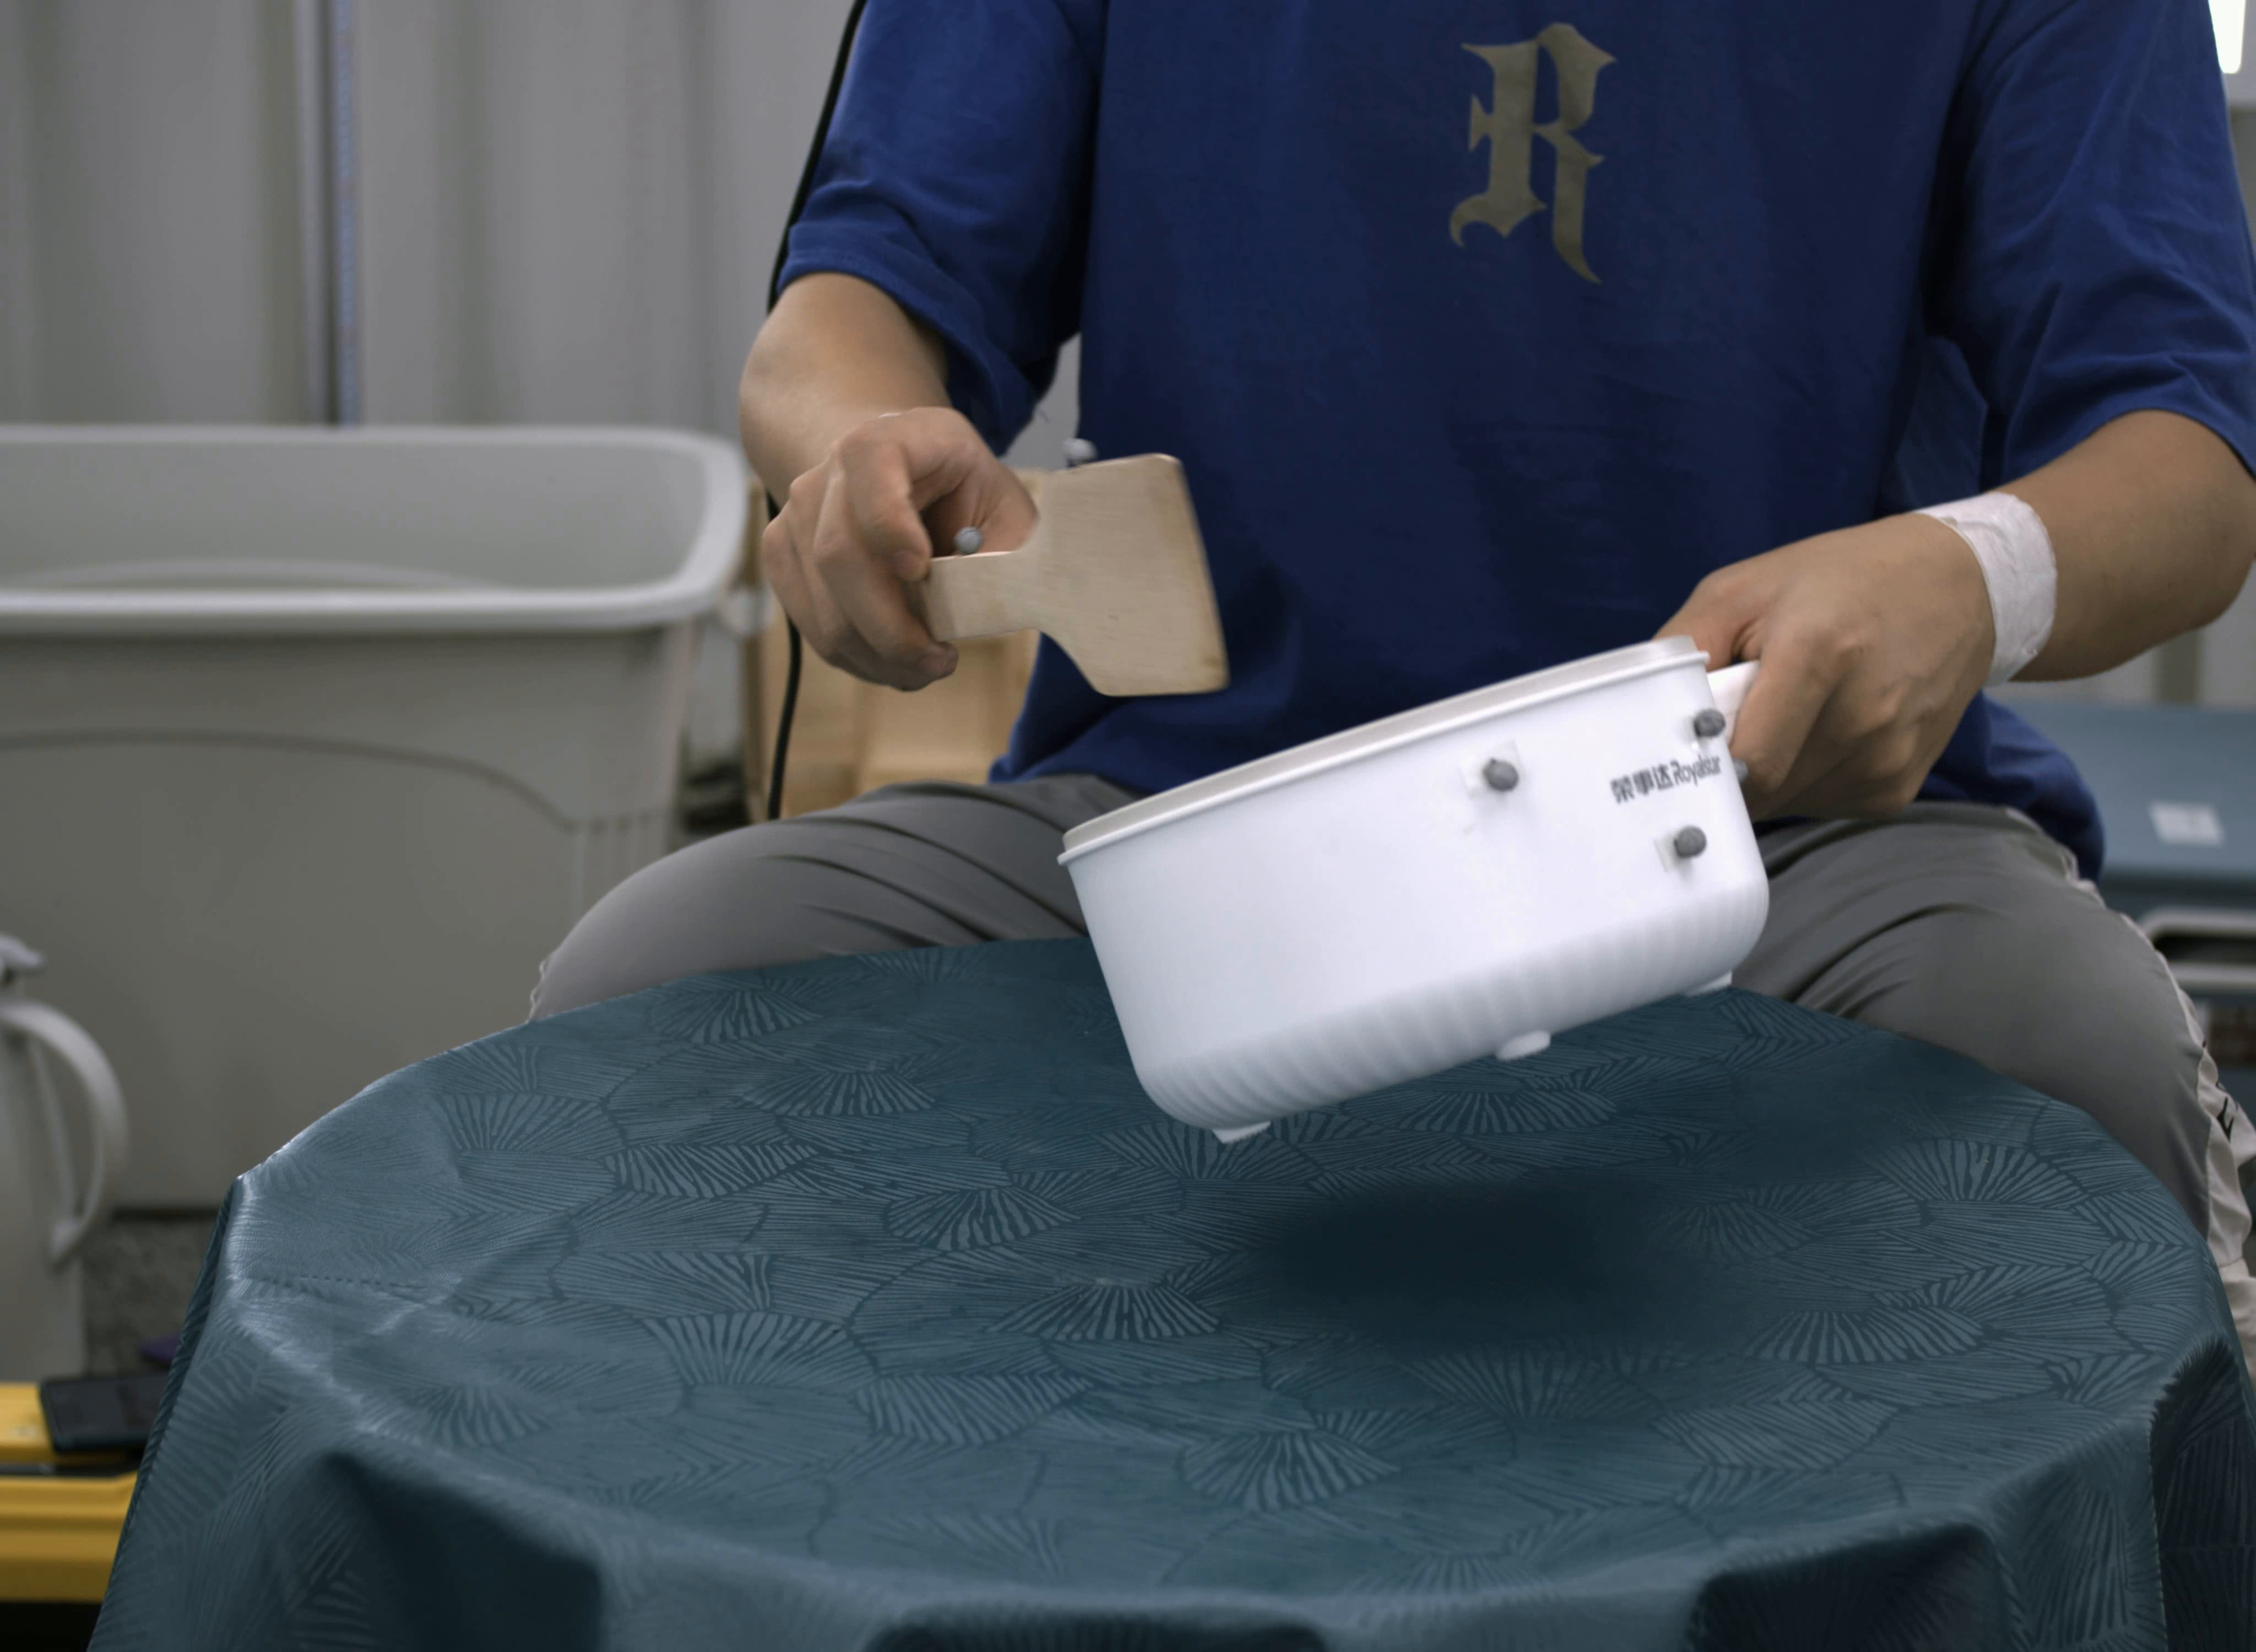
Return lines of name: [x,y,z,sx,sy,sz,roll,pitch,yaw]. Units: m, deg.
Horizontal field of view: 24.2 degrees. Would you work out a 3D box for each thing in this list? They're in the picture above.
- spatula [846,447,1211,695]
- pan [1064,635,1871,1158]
spatula: [-0.039,-0.073,1.623,0.010,0.072,0.291,-18,6,-20]
pan: [0.134,0.013,1.606,0.200,0.102,0.356,-21,-4,36]
